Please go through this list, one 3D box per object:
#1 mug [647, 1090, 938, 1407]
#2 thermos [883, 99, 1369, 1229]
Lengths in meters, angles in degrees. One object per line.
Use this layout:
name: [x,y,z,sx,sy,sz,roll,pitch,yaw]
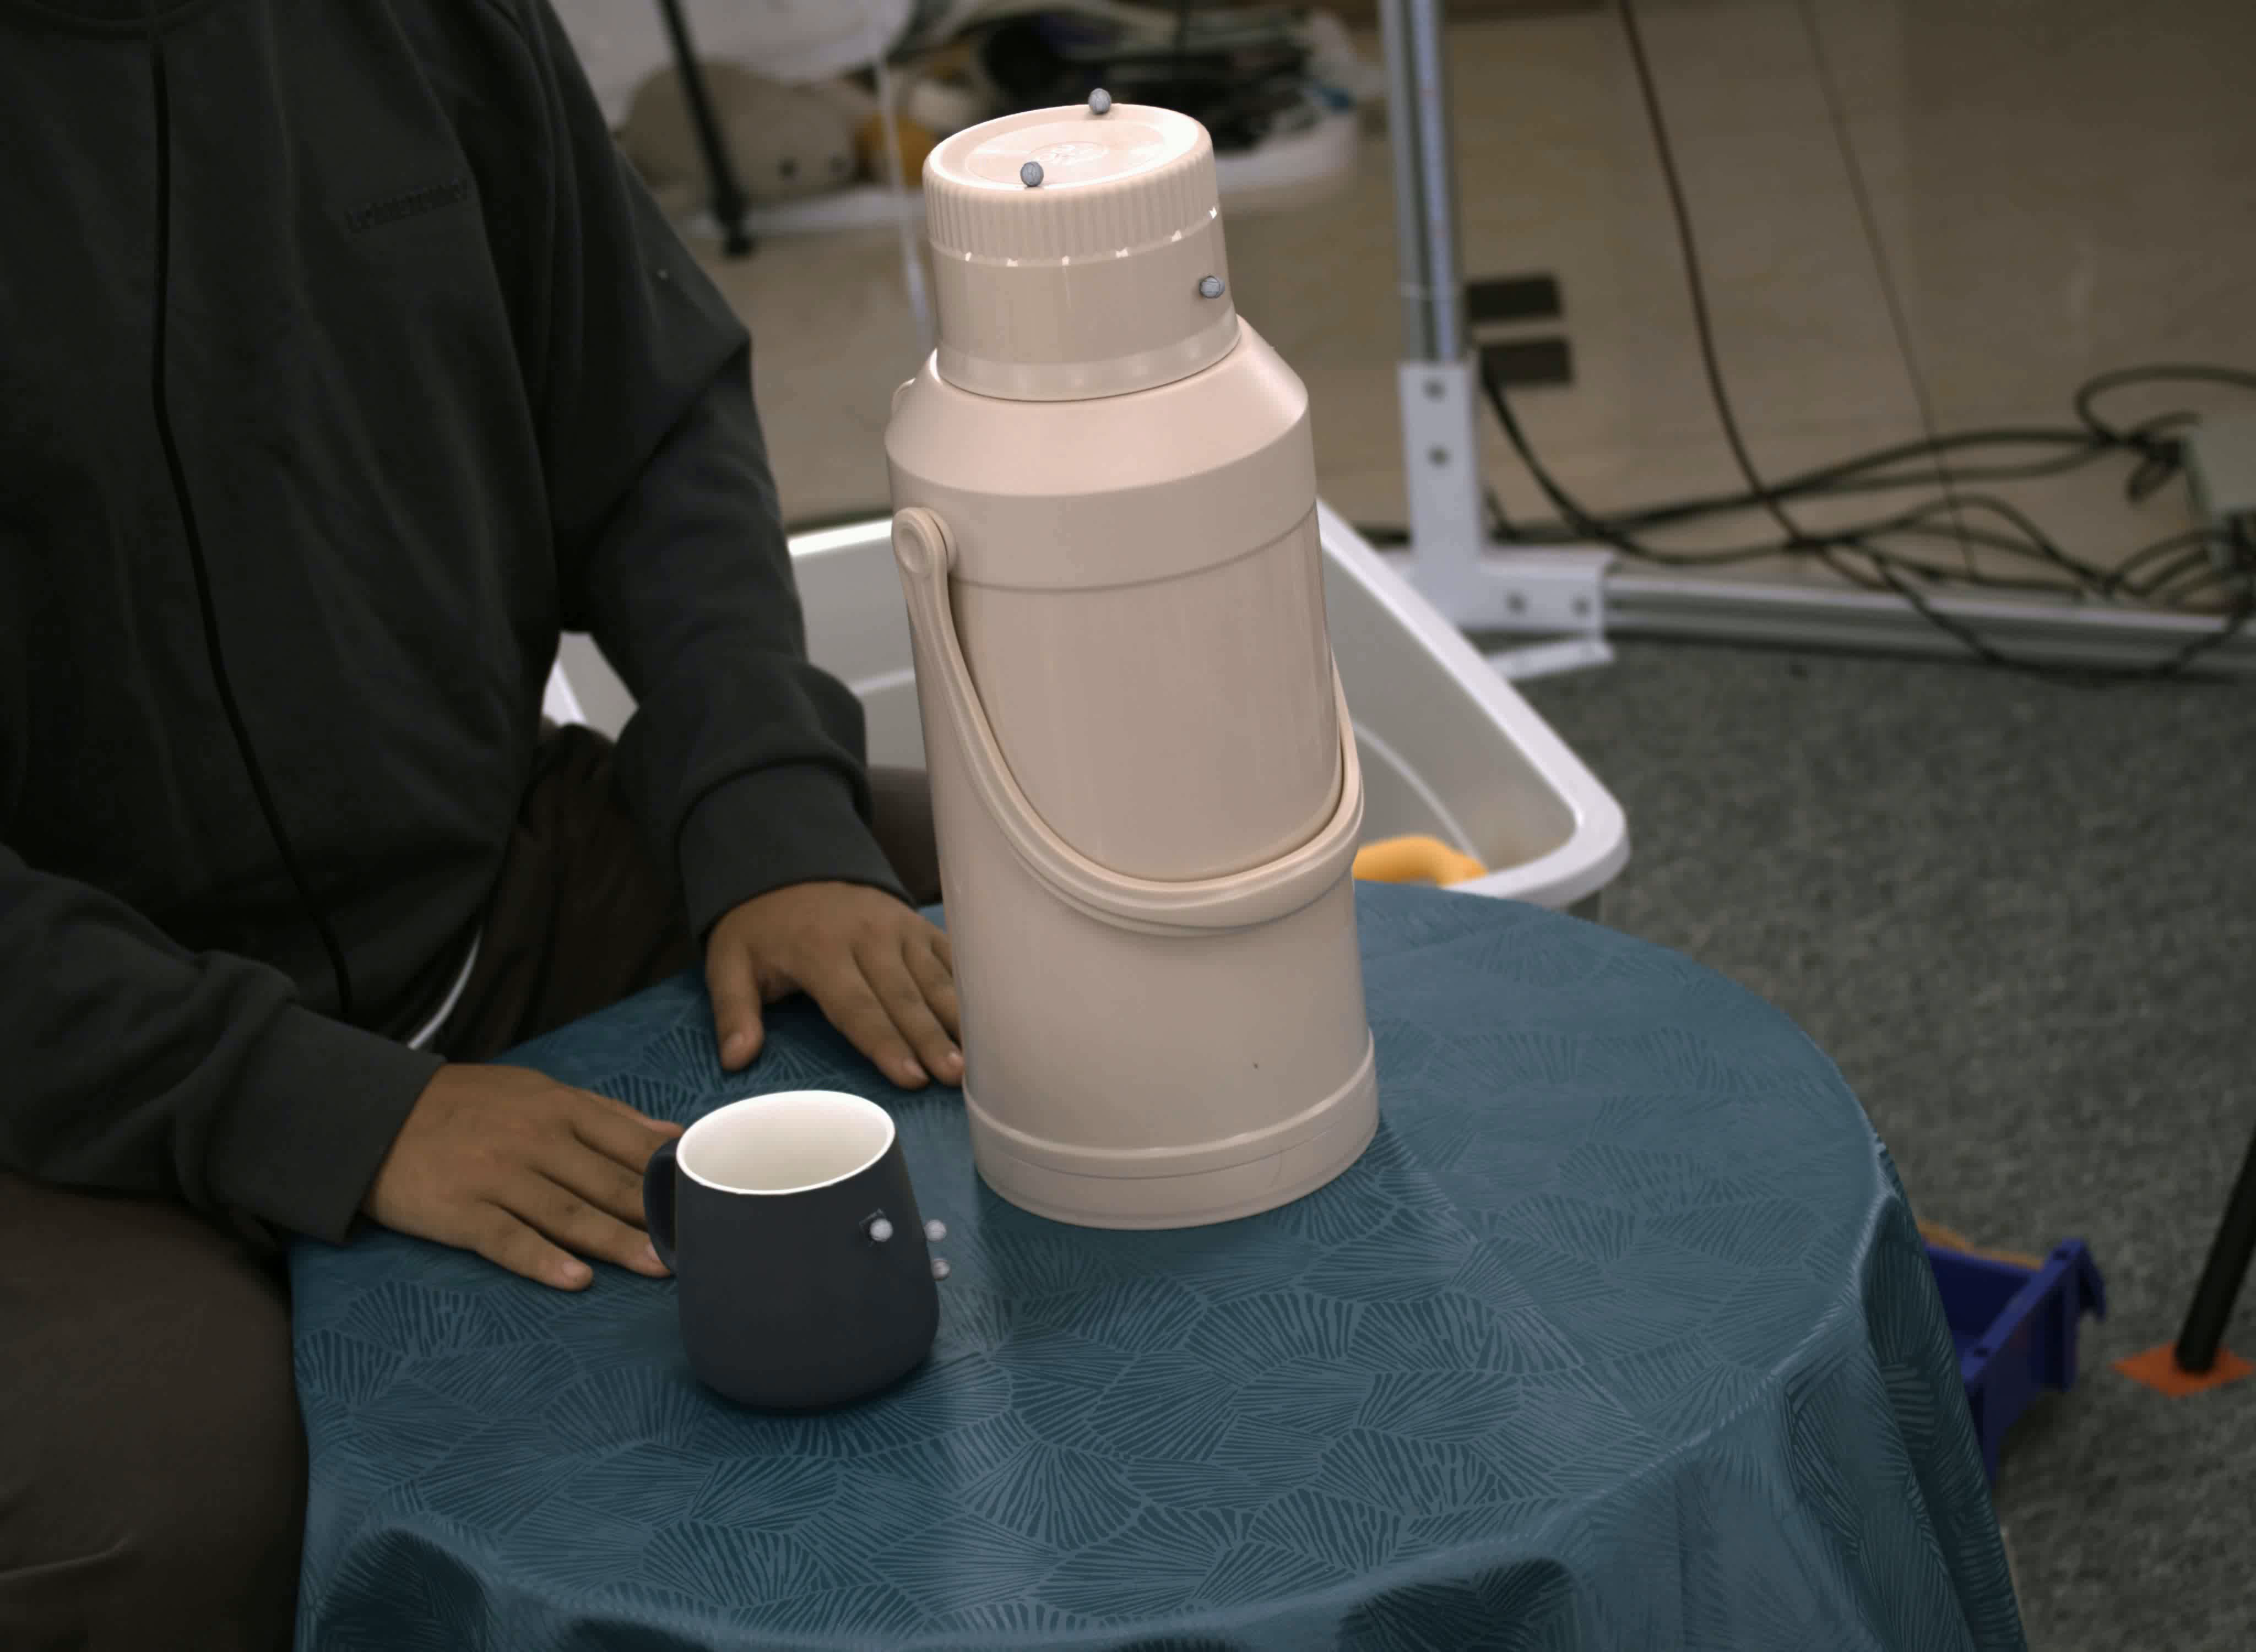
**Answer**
mug: [-0.128,0.149,2.047,0.122,0.091,0.093,18,34,41]
thermos: [-0.011,-0.065,2.113,0.174,0.413,0.205,-24,31,-32]
